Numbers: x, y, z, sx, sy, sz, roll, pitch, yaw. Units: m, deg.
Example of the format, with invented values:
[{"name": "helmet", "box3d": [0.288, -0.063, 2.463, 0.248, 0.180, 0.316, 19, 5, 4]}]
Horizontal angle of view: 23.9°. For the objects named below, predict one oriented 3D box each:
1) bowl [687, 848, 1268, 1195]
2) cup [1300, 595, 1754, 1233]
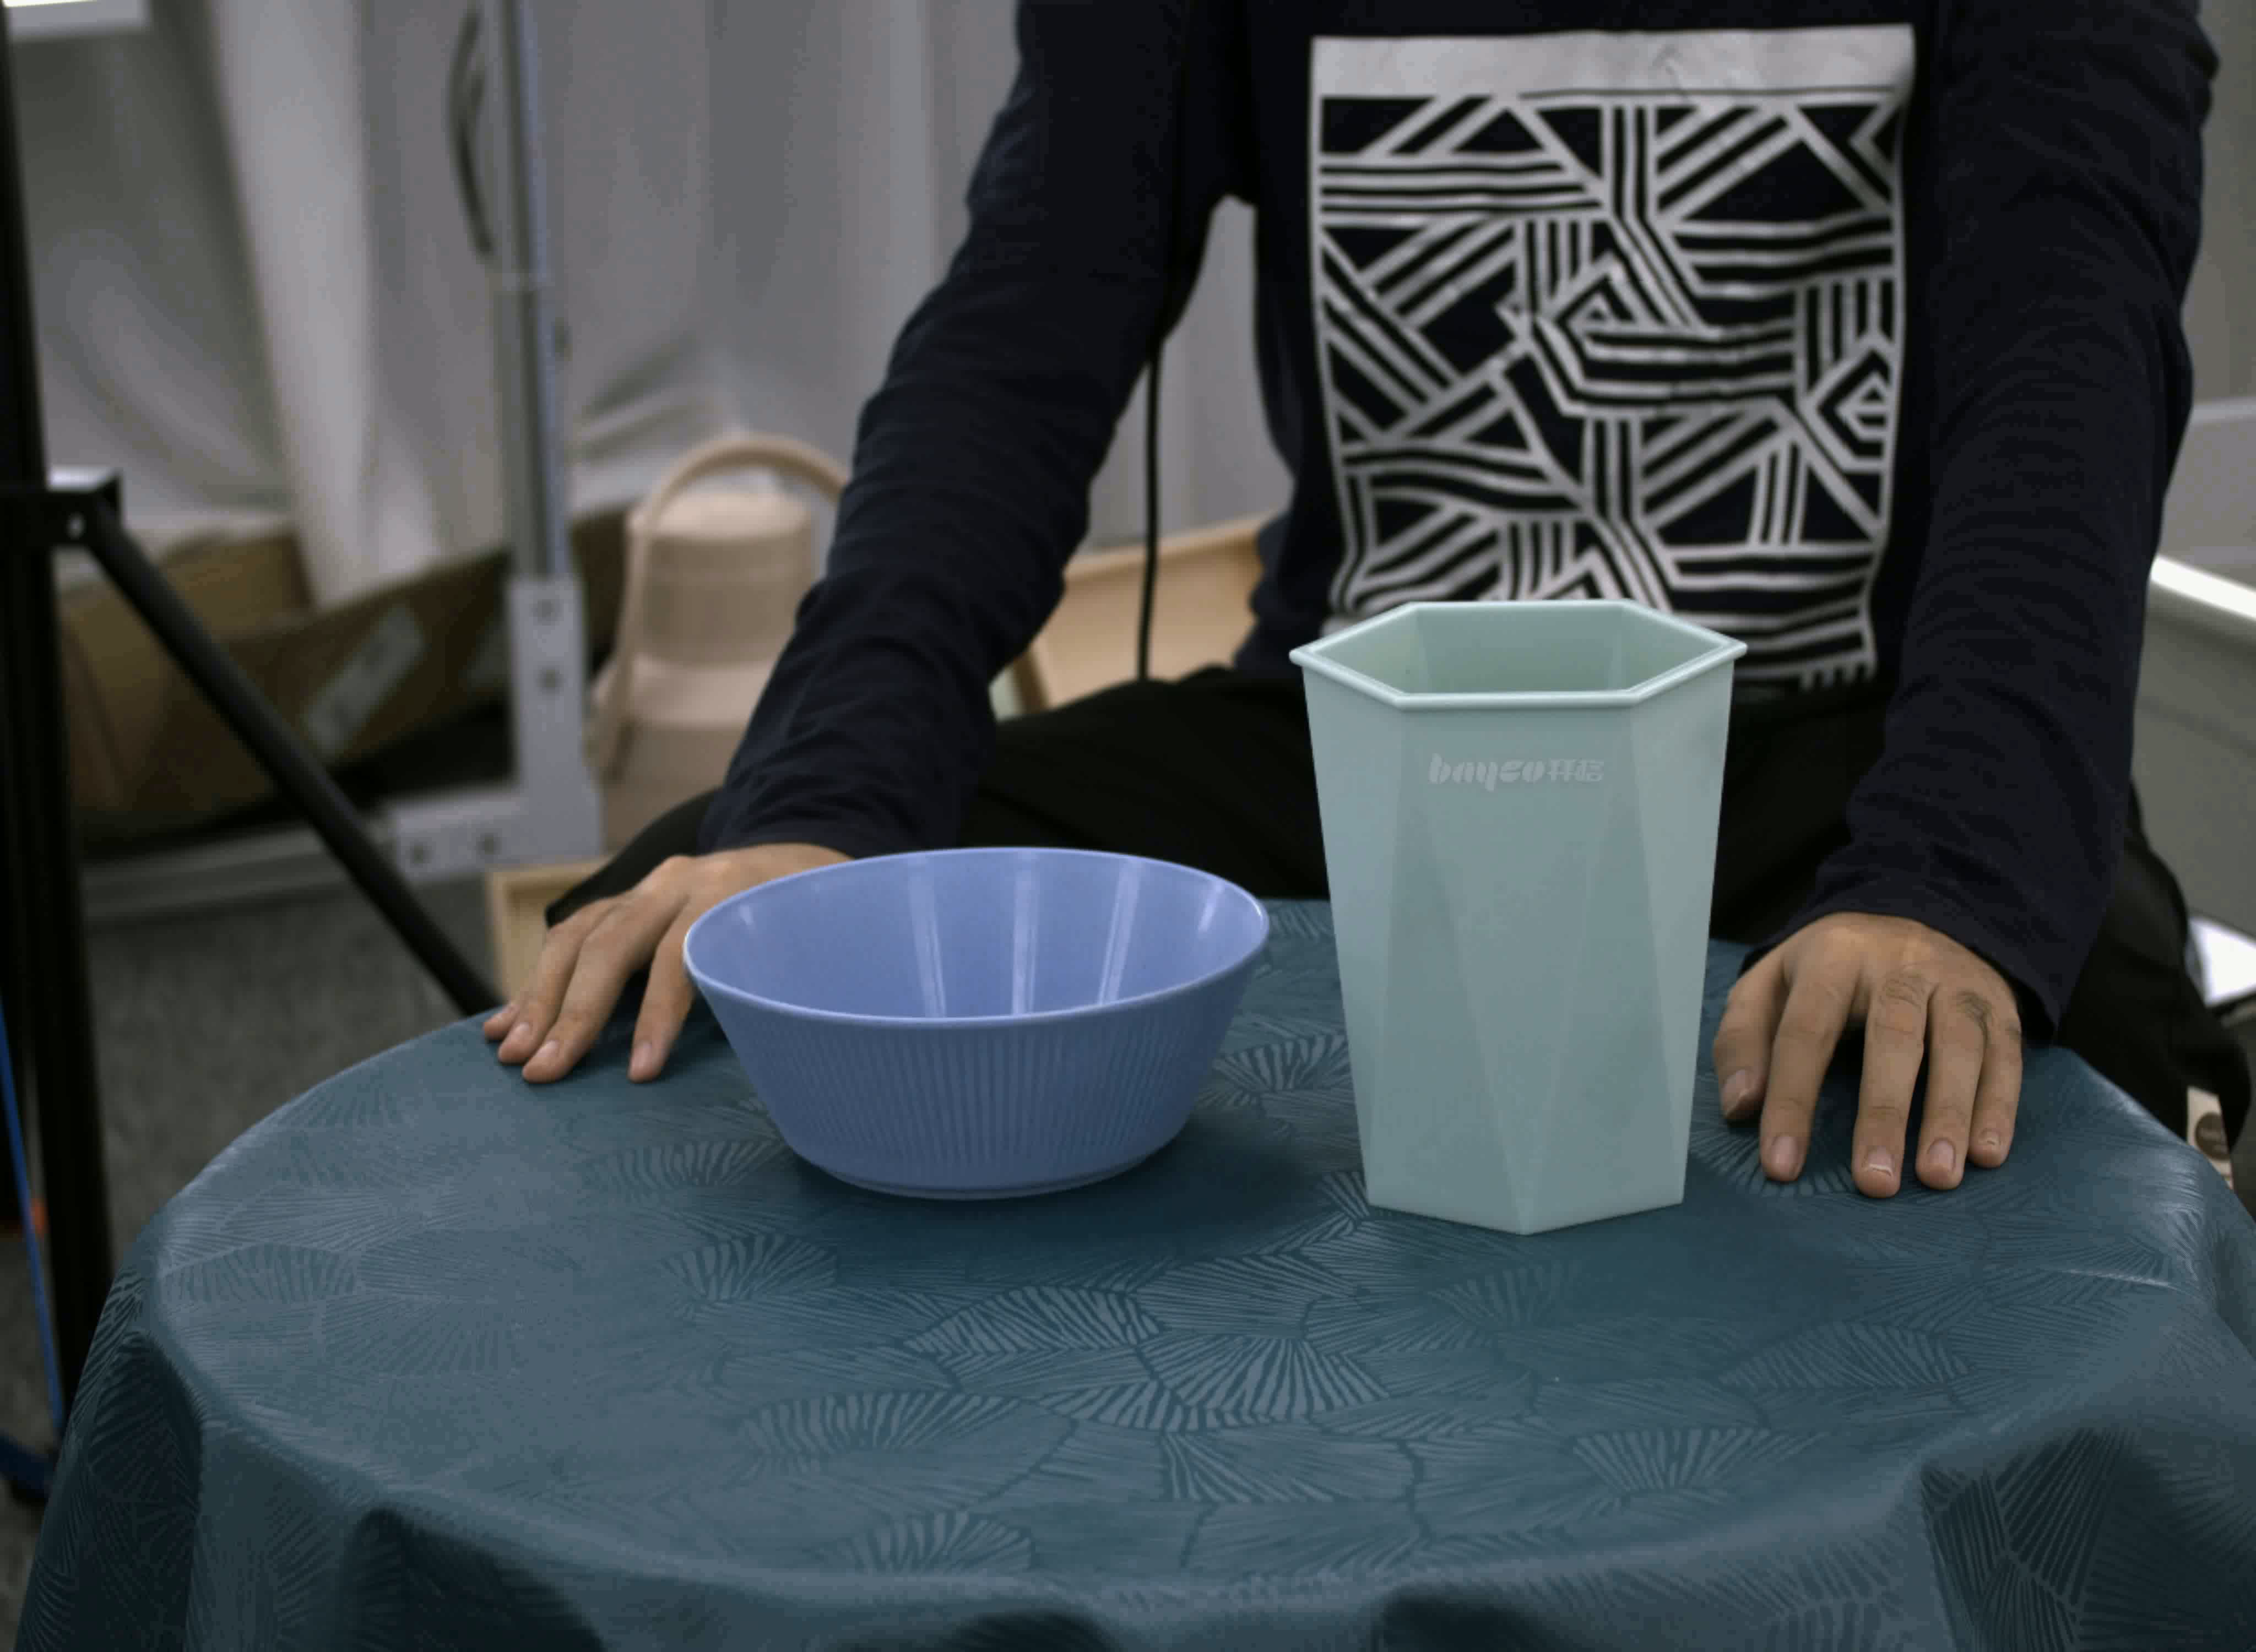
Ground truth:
[{"name": "bowl", "box3d": [-0.045, 0.061, 1.604, 0.175, 0.070, 0.177, -2, 15, -1]}, {"name": "cup", "box3d": [0.115, 0.025, 1.538, 0.131, 0.163, 0.115, 0, 14, 4]}]
